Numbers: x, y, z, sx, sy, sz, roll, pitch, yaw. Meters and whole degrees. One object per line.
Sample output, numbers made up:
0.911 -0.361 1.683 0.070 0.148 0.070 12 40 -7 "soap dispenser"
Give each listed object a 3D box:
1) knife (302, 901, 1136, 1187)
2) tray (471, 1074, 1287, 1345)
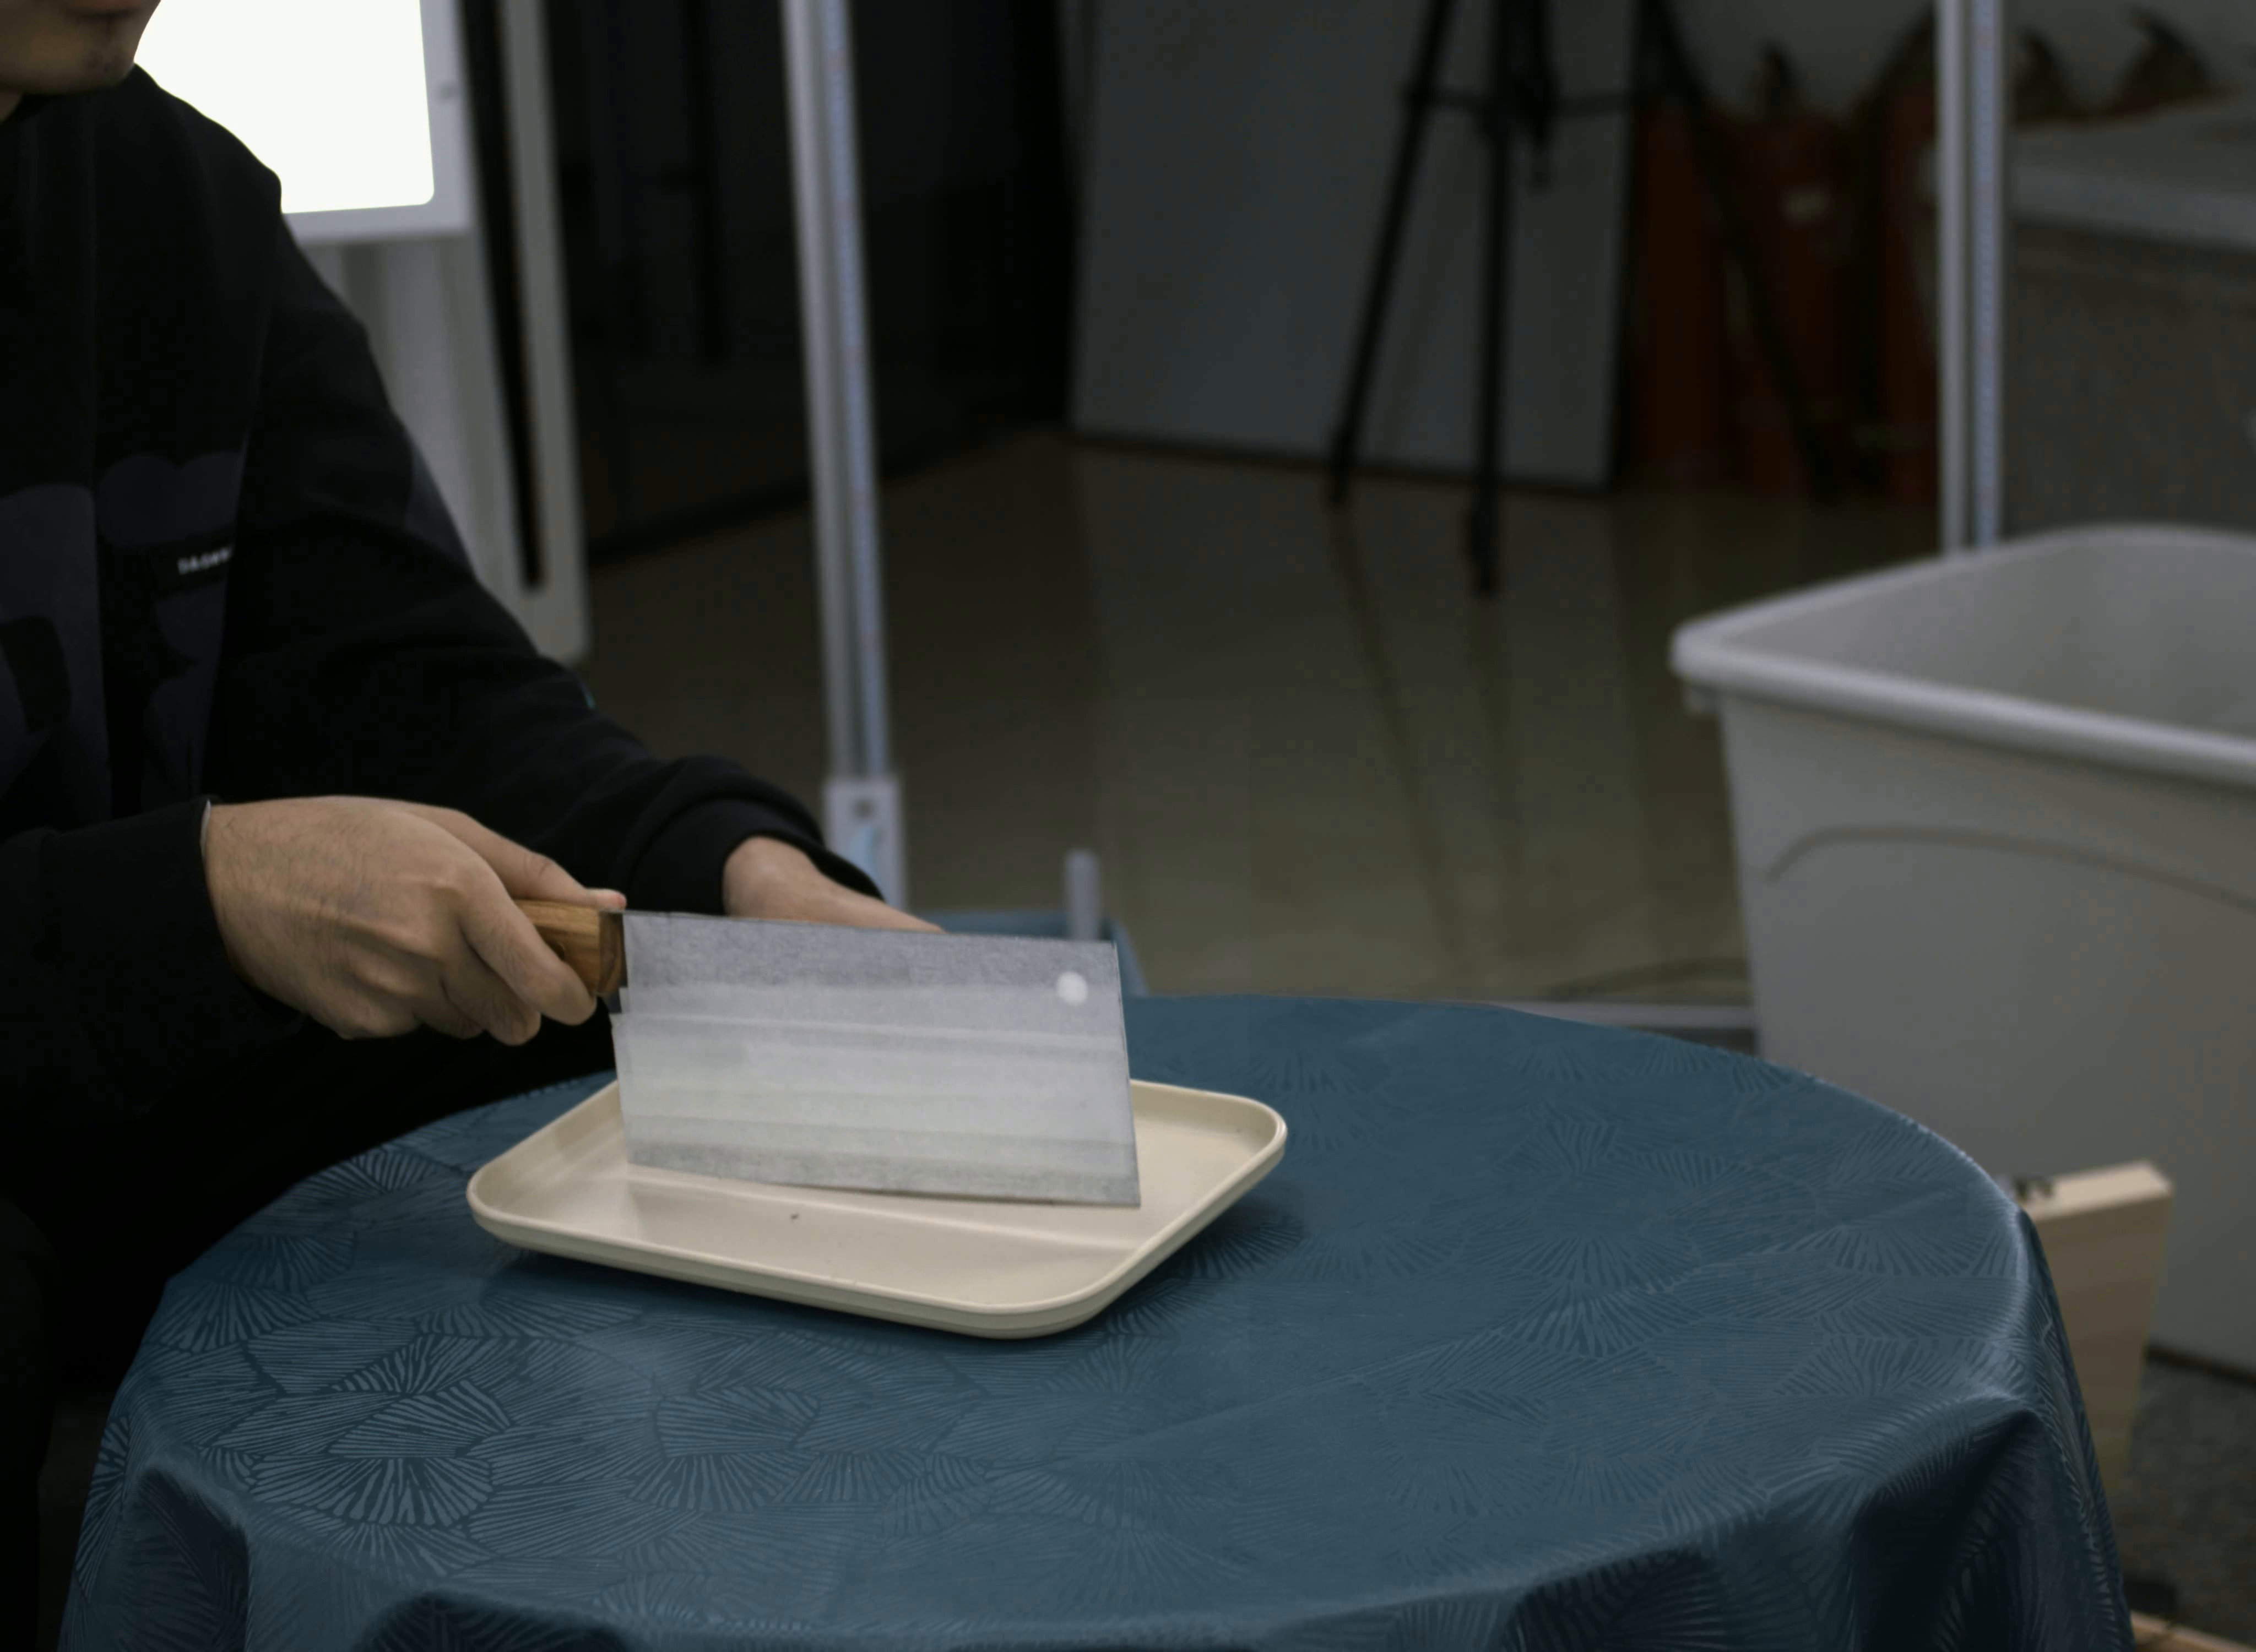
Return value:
-0.134 0.071 1.740 0.306 0.094 0.021 3 18 28 "knife"
-0.079 0.115 1.740 0.241 0.017 0.169 7 25 31 "tray"
